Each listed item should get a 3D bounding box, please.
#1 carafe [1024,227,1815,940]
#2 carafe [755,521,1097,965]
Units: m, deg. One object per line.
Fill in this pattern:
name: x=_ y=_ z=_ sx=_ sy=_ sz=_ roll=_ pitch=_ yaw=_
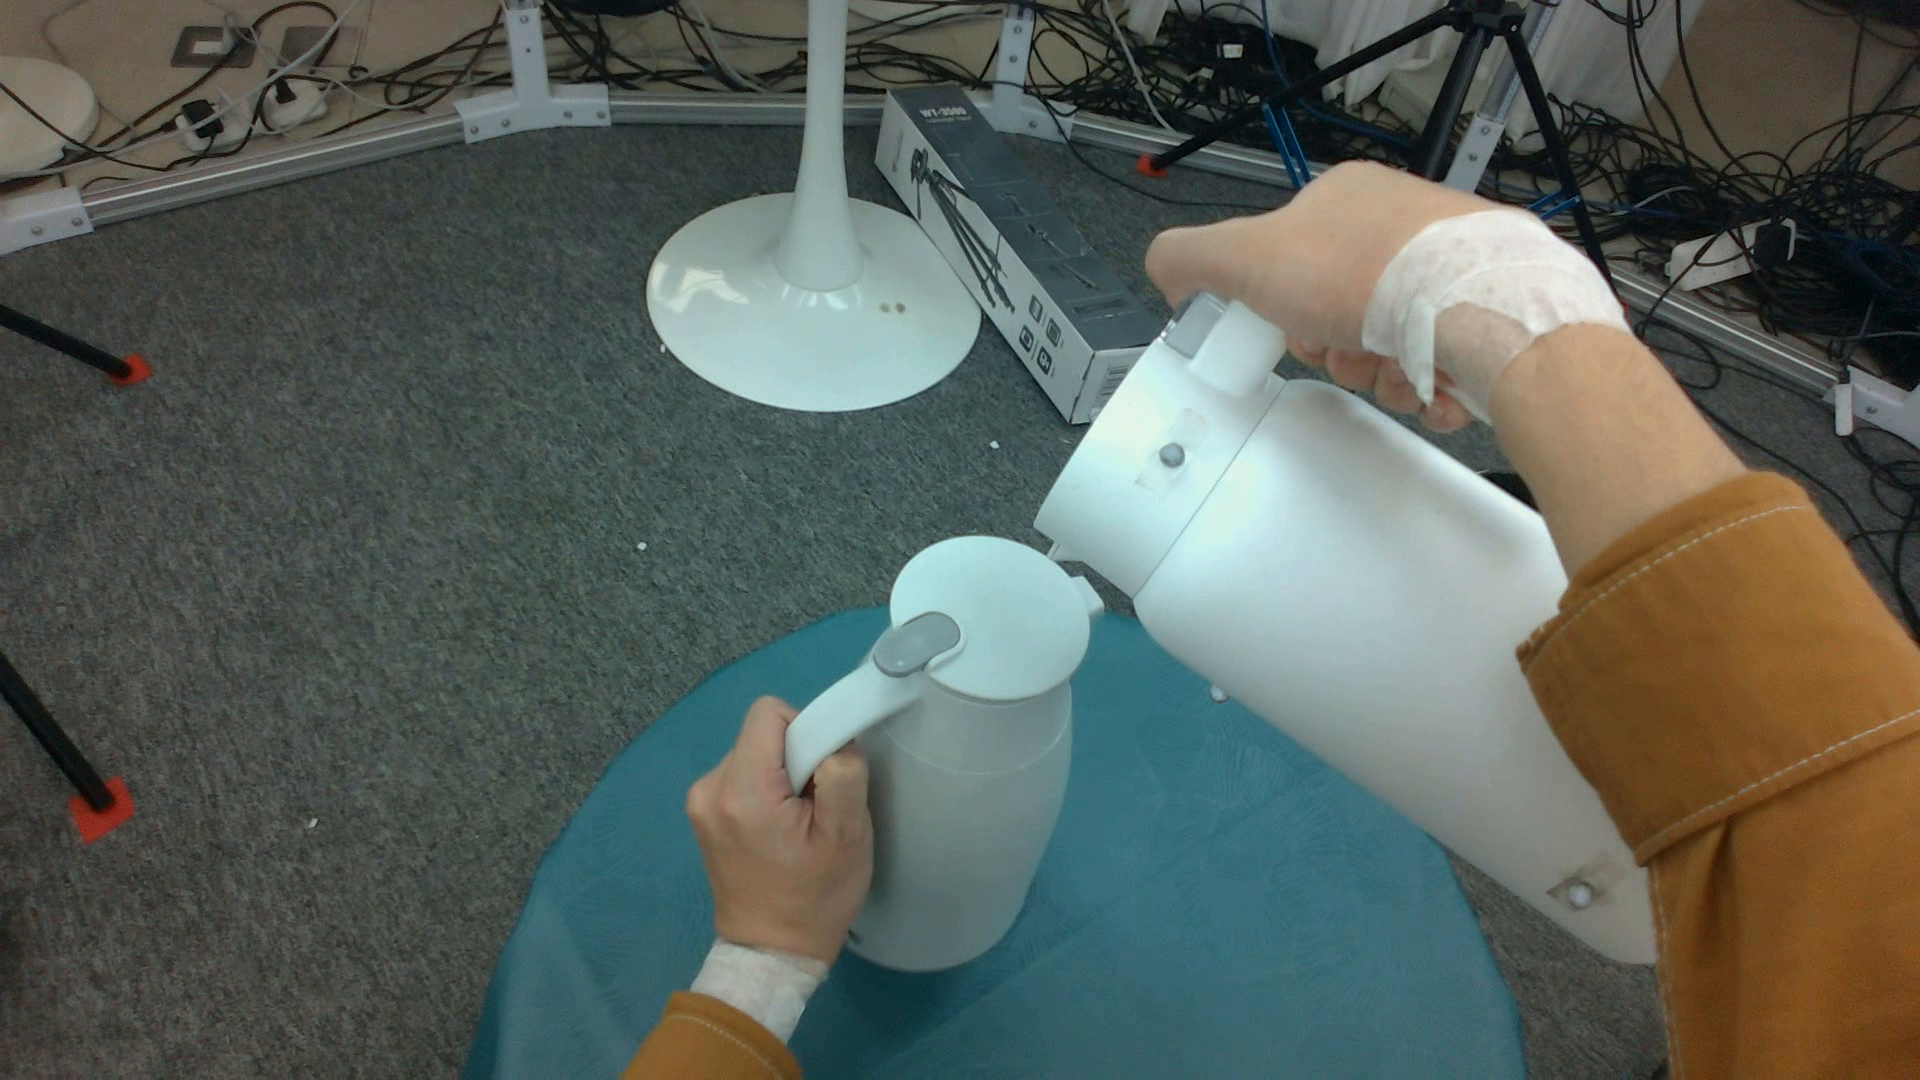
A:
carafe: x=0.169 y=0.012 z=0.502 sx=0.269 sy=0.172 sz=0.124 roll=36 pitch=37 yaw=7
carafe: x=-0.024 y=0.108 z=0.691 sx=0.168 sy=0.247 sz=0.133 roll=-20 pitch=56 yaw=-27
